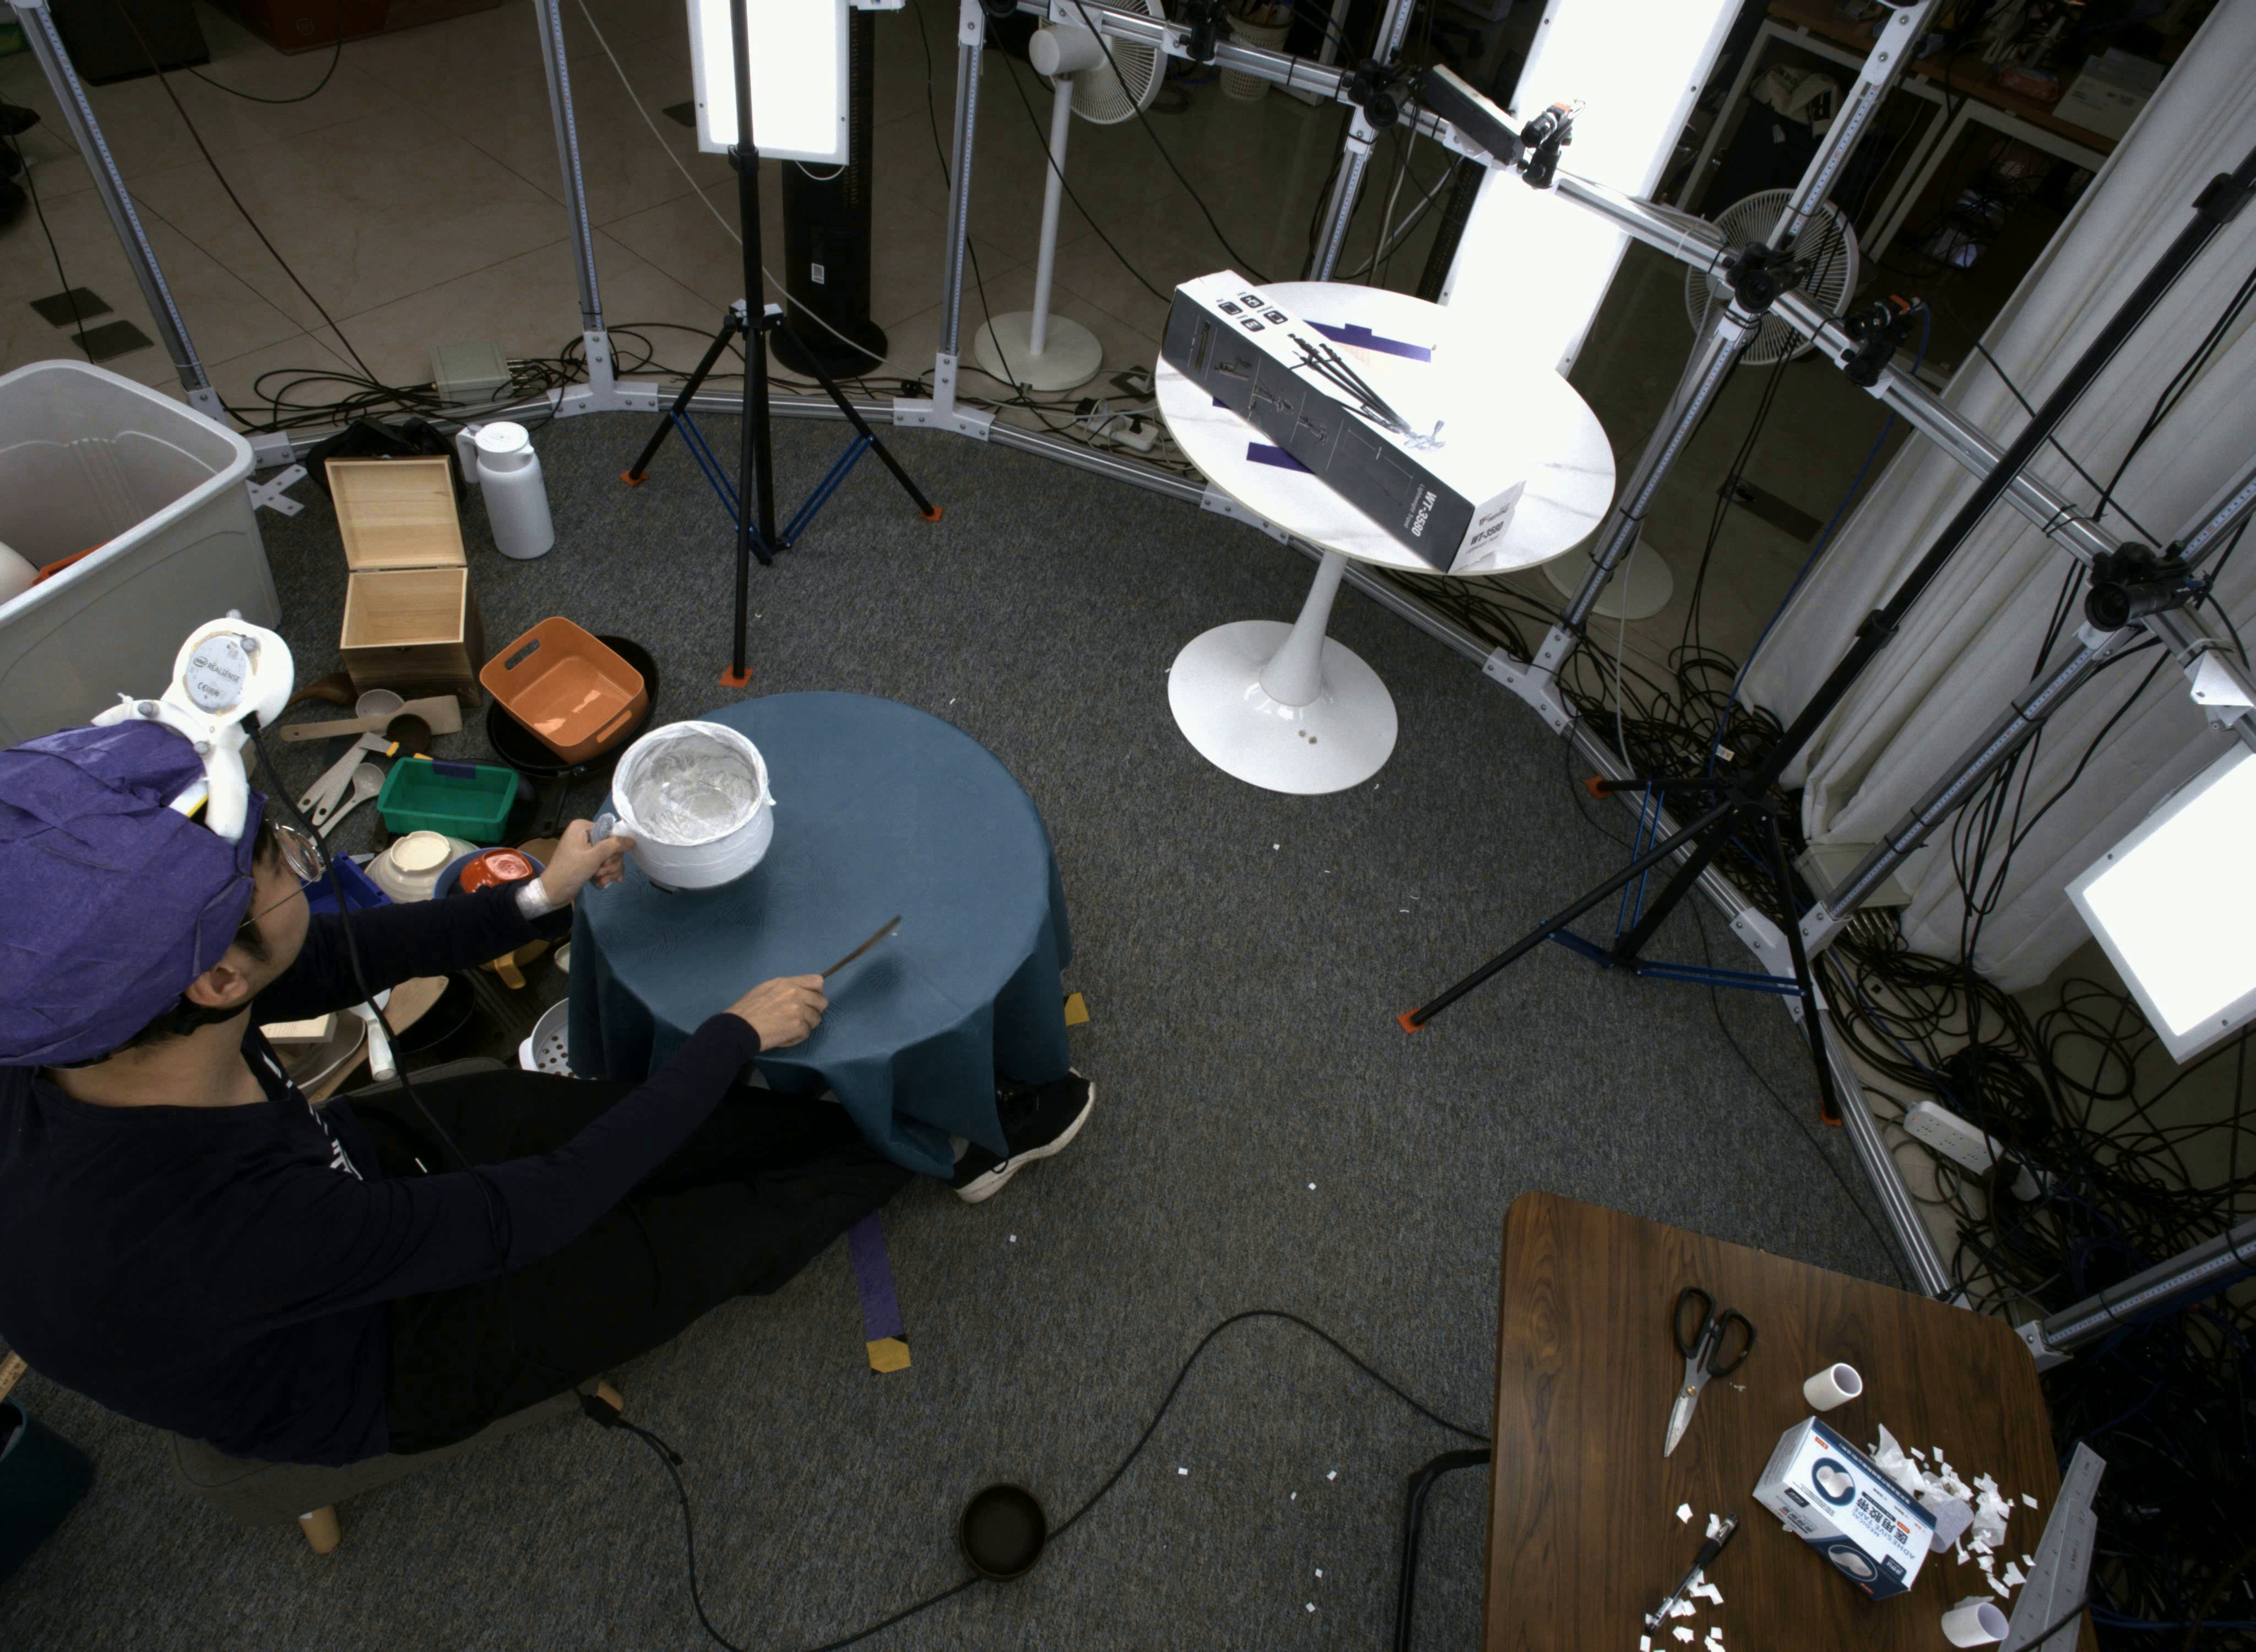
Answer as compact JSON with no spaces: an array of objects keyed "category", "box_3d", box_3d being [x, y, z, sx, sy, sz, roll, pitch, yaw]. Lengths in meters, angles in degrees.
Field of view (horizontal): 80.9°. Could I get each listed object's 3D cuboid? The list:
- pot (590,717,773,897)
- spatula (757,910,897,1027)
[{"category":"pot","box_3d":[-0.543,-0.009,1.543,0.234,0.139,0.174,-31,66,-27]},{"category":"spatula","box_3d":[-0.363,0.169,1.570,0.216,0.073,0.009,-39,77,-20]}]
